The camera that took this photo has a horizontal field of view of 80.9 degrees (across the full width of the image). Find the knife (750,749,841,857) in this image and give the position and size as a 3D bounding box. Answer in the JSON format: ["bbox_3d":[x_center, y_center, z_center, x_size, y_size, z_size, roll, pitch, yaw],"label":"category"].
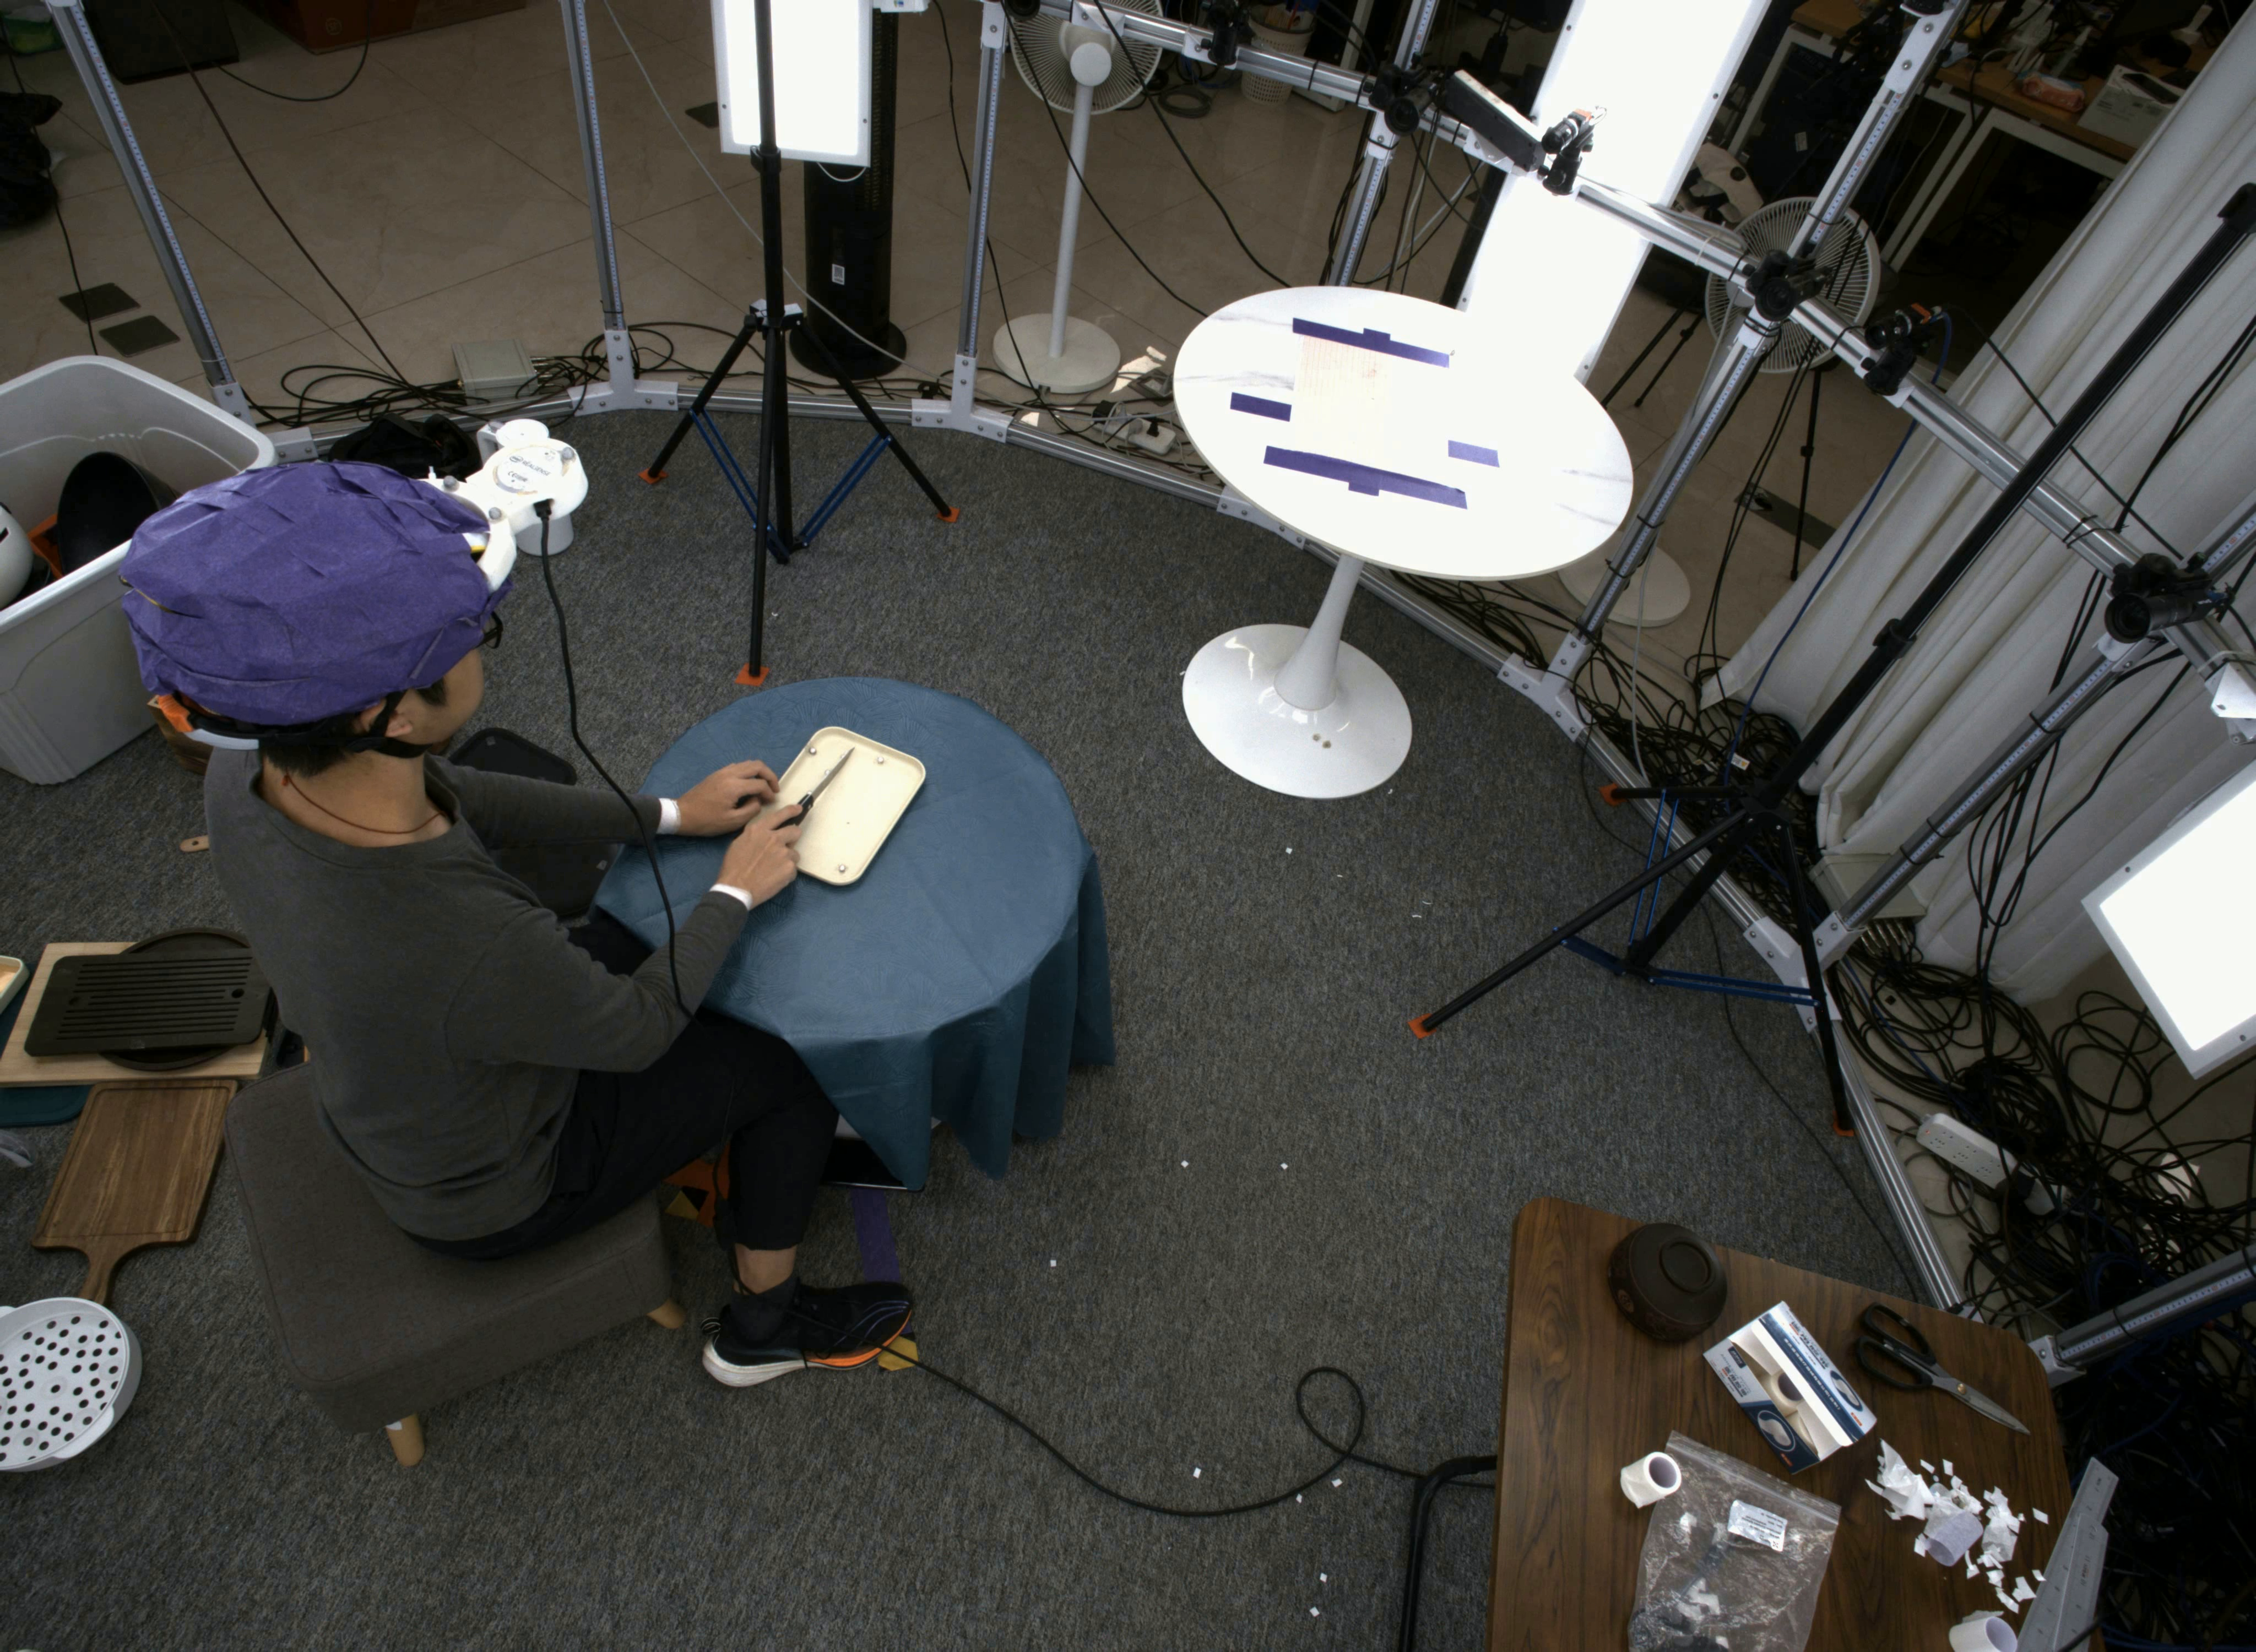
[{"bbox_3d":[-0.438,-0.039,1.728,0.016,0.025,0.236,23,42,5],"label":"knife"}]

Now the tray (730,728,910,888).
[{"bbox_3d":[-0.411,-0.027,1.747,0.169,0.018,0.238,23,52,2],"label":"tray"}]
